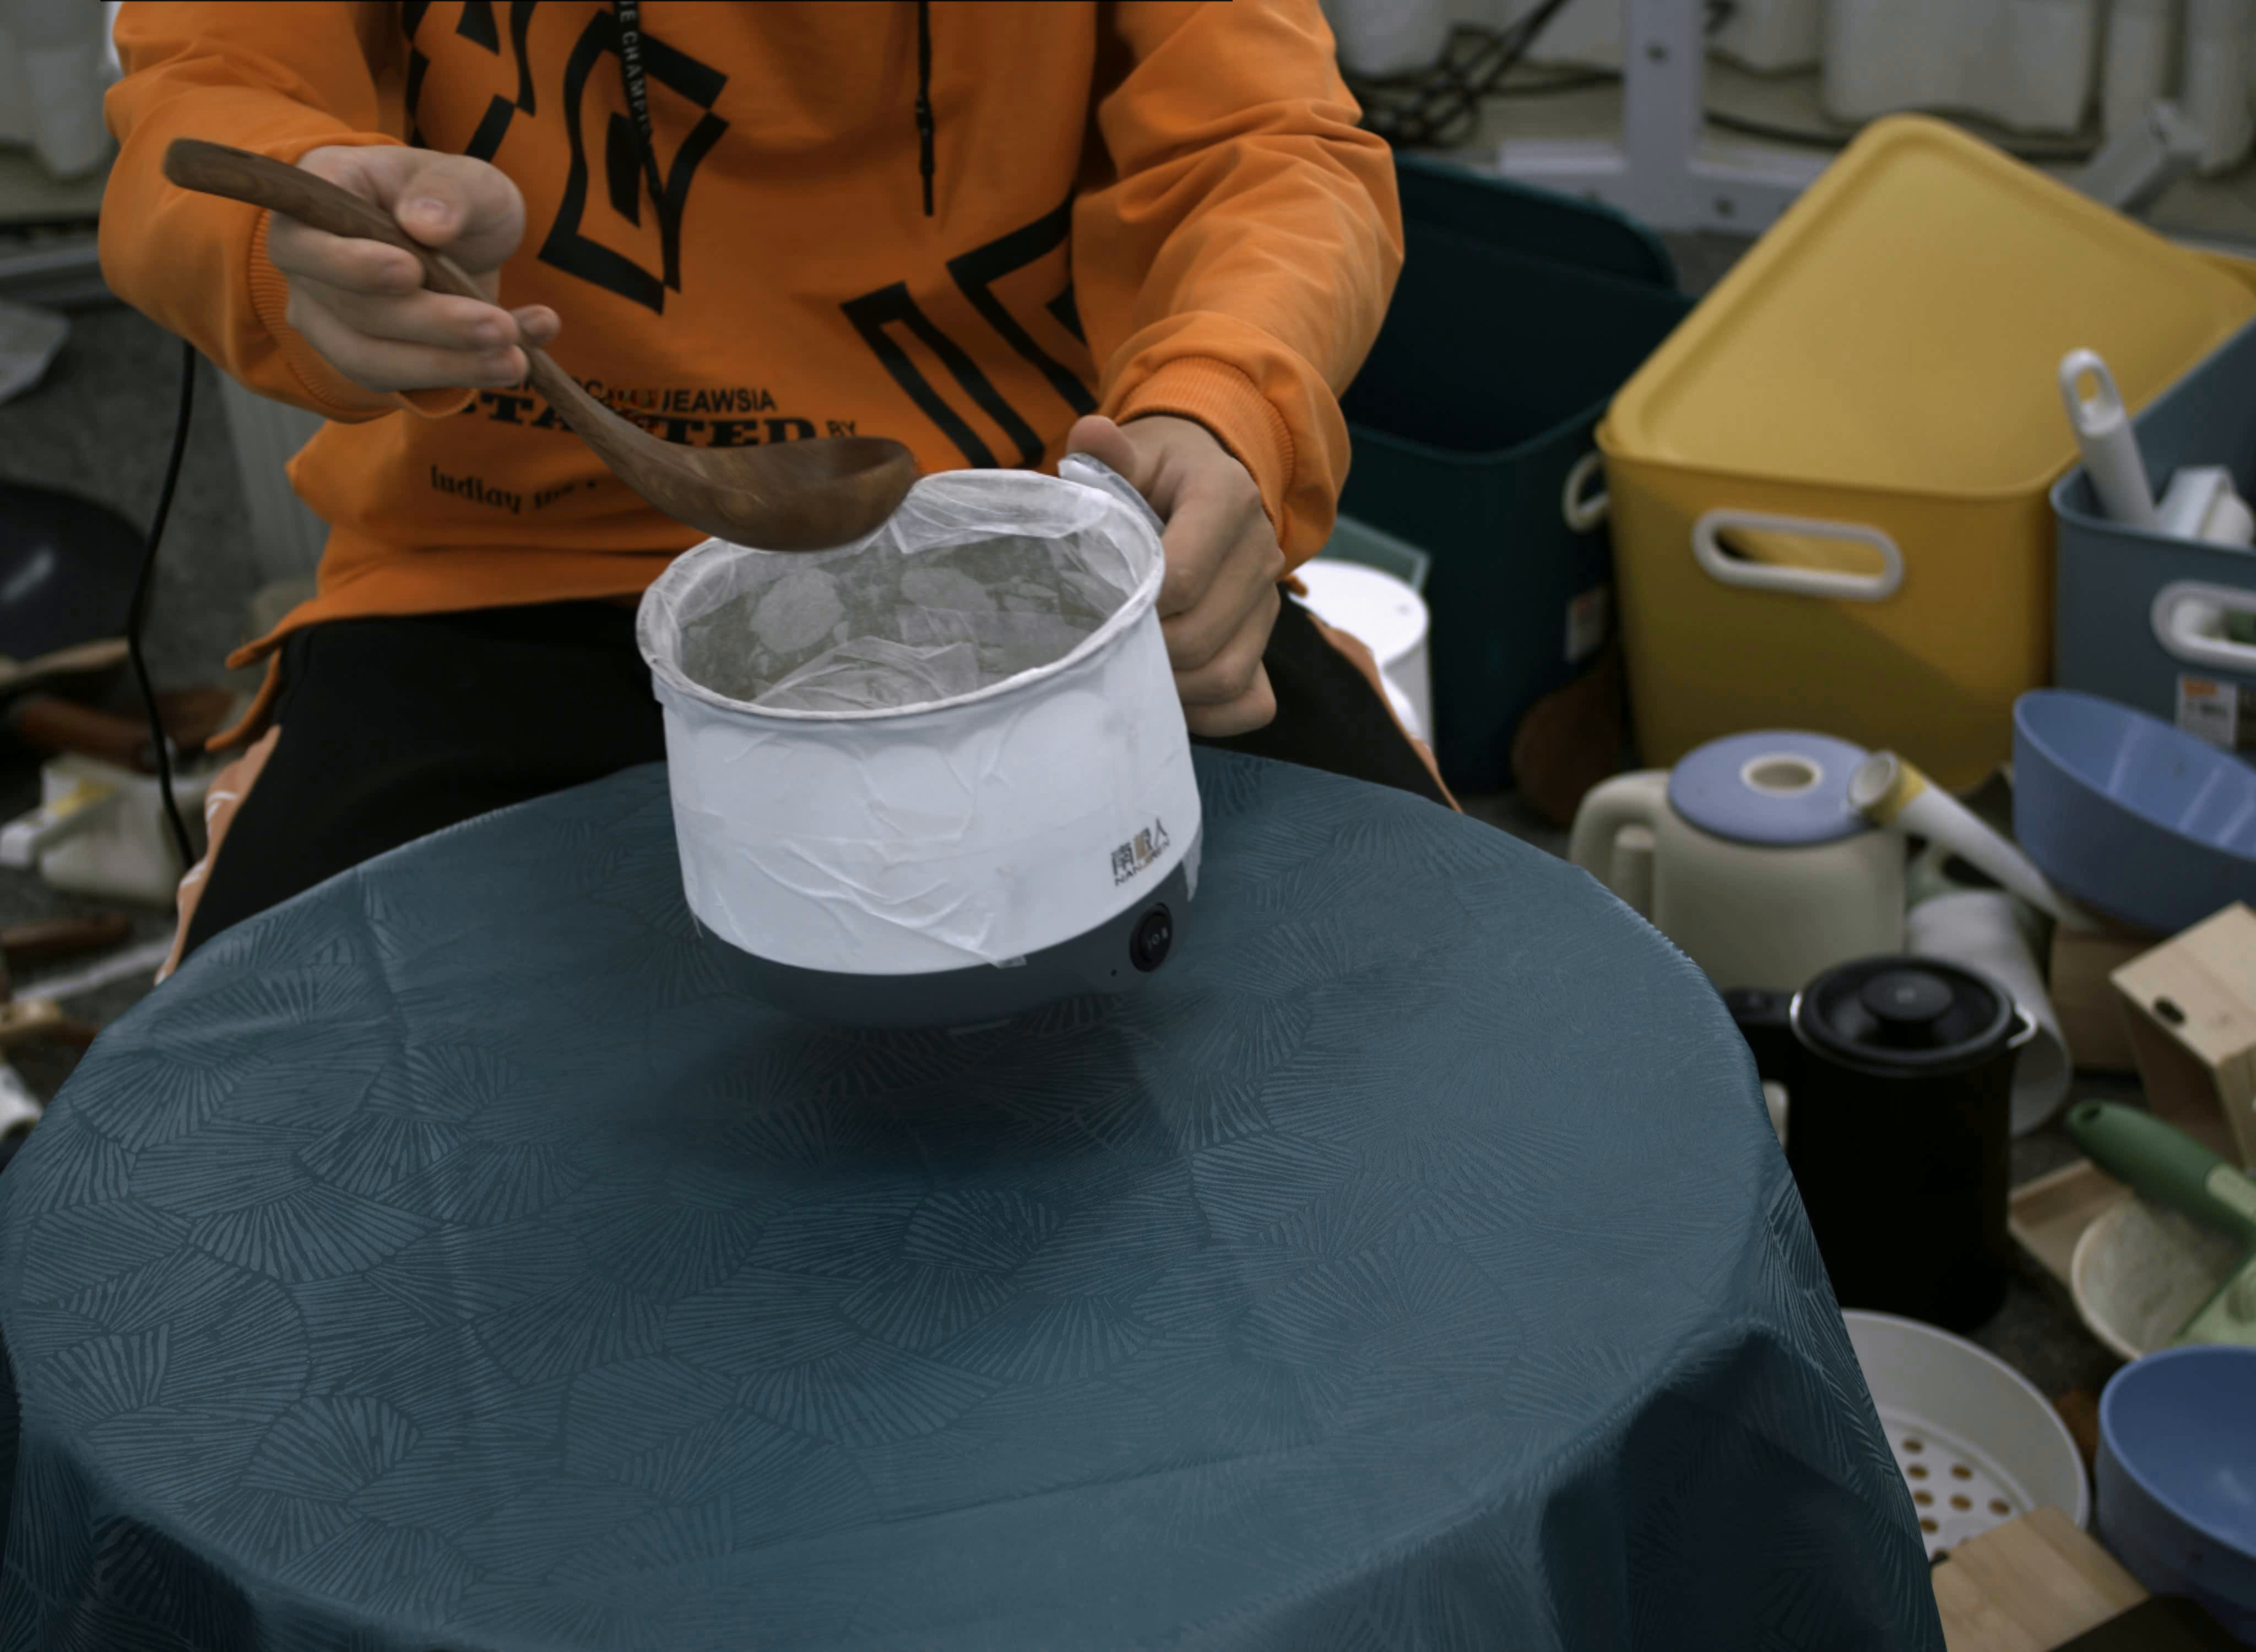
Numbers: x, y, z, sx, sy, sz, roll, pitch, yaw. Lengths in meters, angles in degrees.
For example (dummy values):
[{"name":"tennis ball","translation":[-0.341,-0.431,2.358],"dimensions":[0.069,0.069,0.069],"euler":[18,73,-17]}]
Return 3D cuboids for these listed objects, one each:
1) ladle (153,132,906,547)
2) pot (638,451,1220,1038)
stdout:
[{"name":"ladle","translation":[-0.190,-0.166,1.817],"dimensions":[0.259,0.065,0.077],"euler":[34,6,-8]},{"name":"pot","translation":[-0.051,-0.036,1.903],"dimensions":[0.178,0.135,0.237],"euler":[13,34,32]}]
